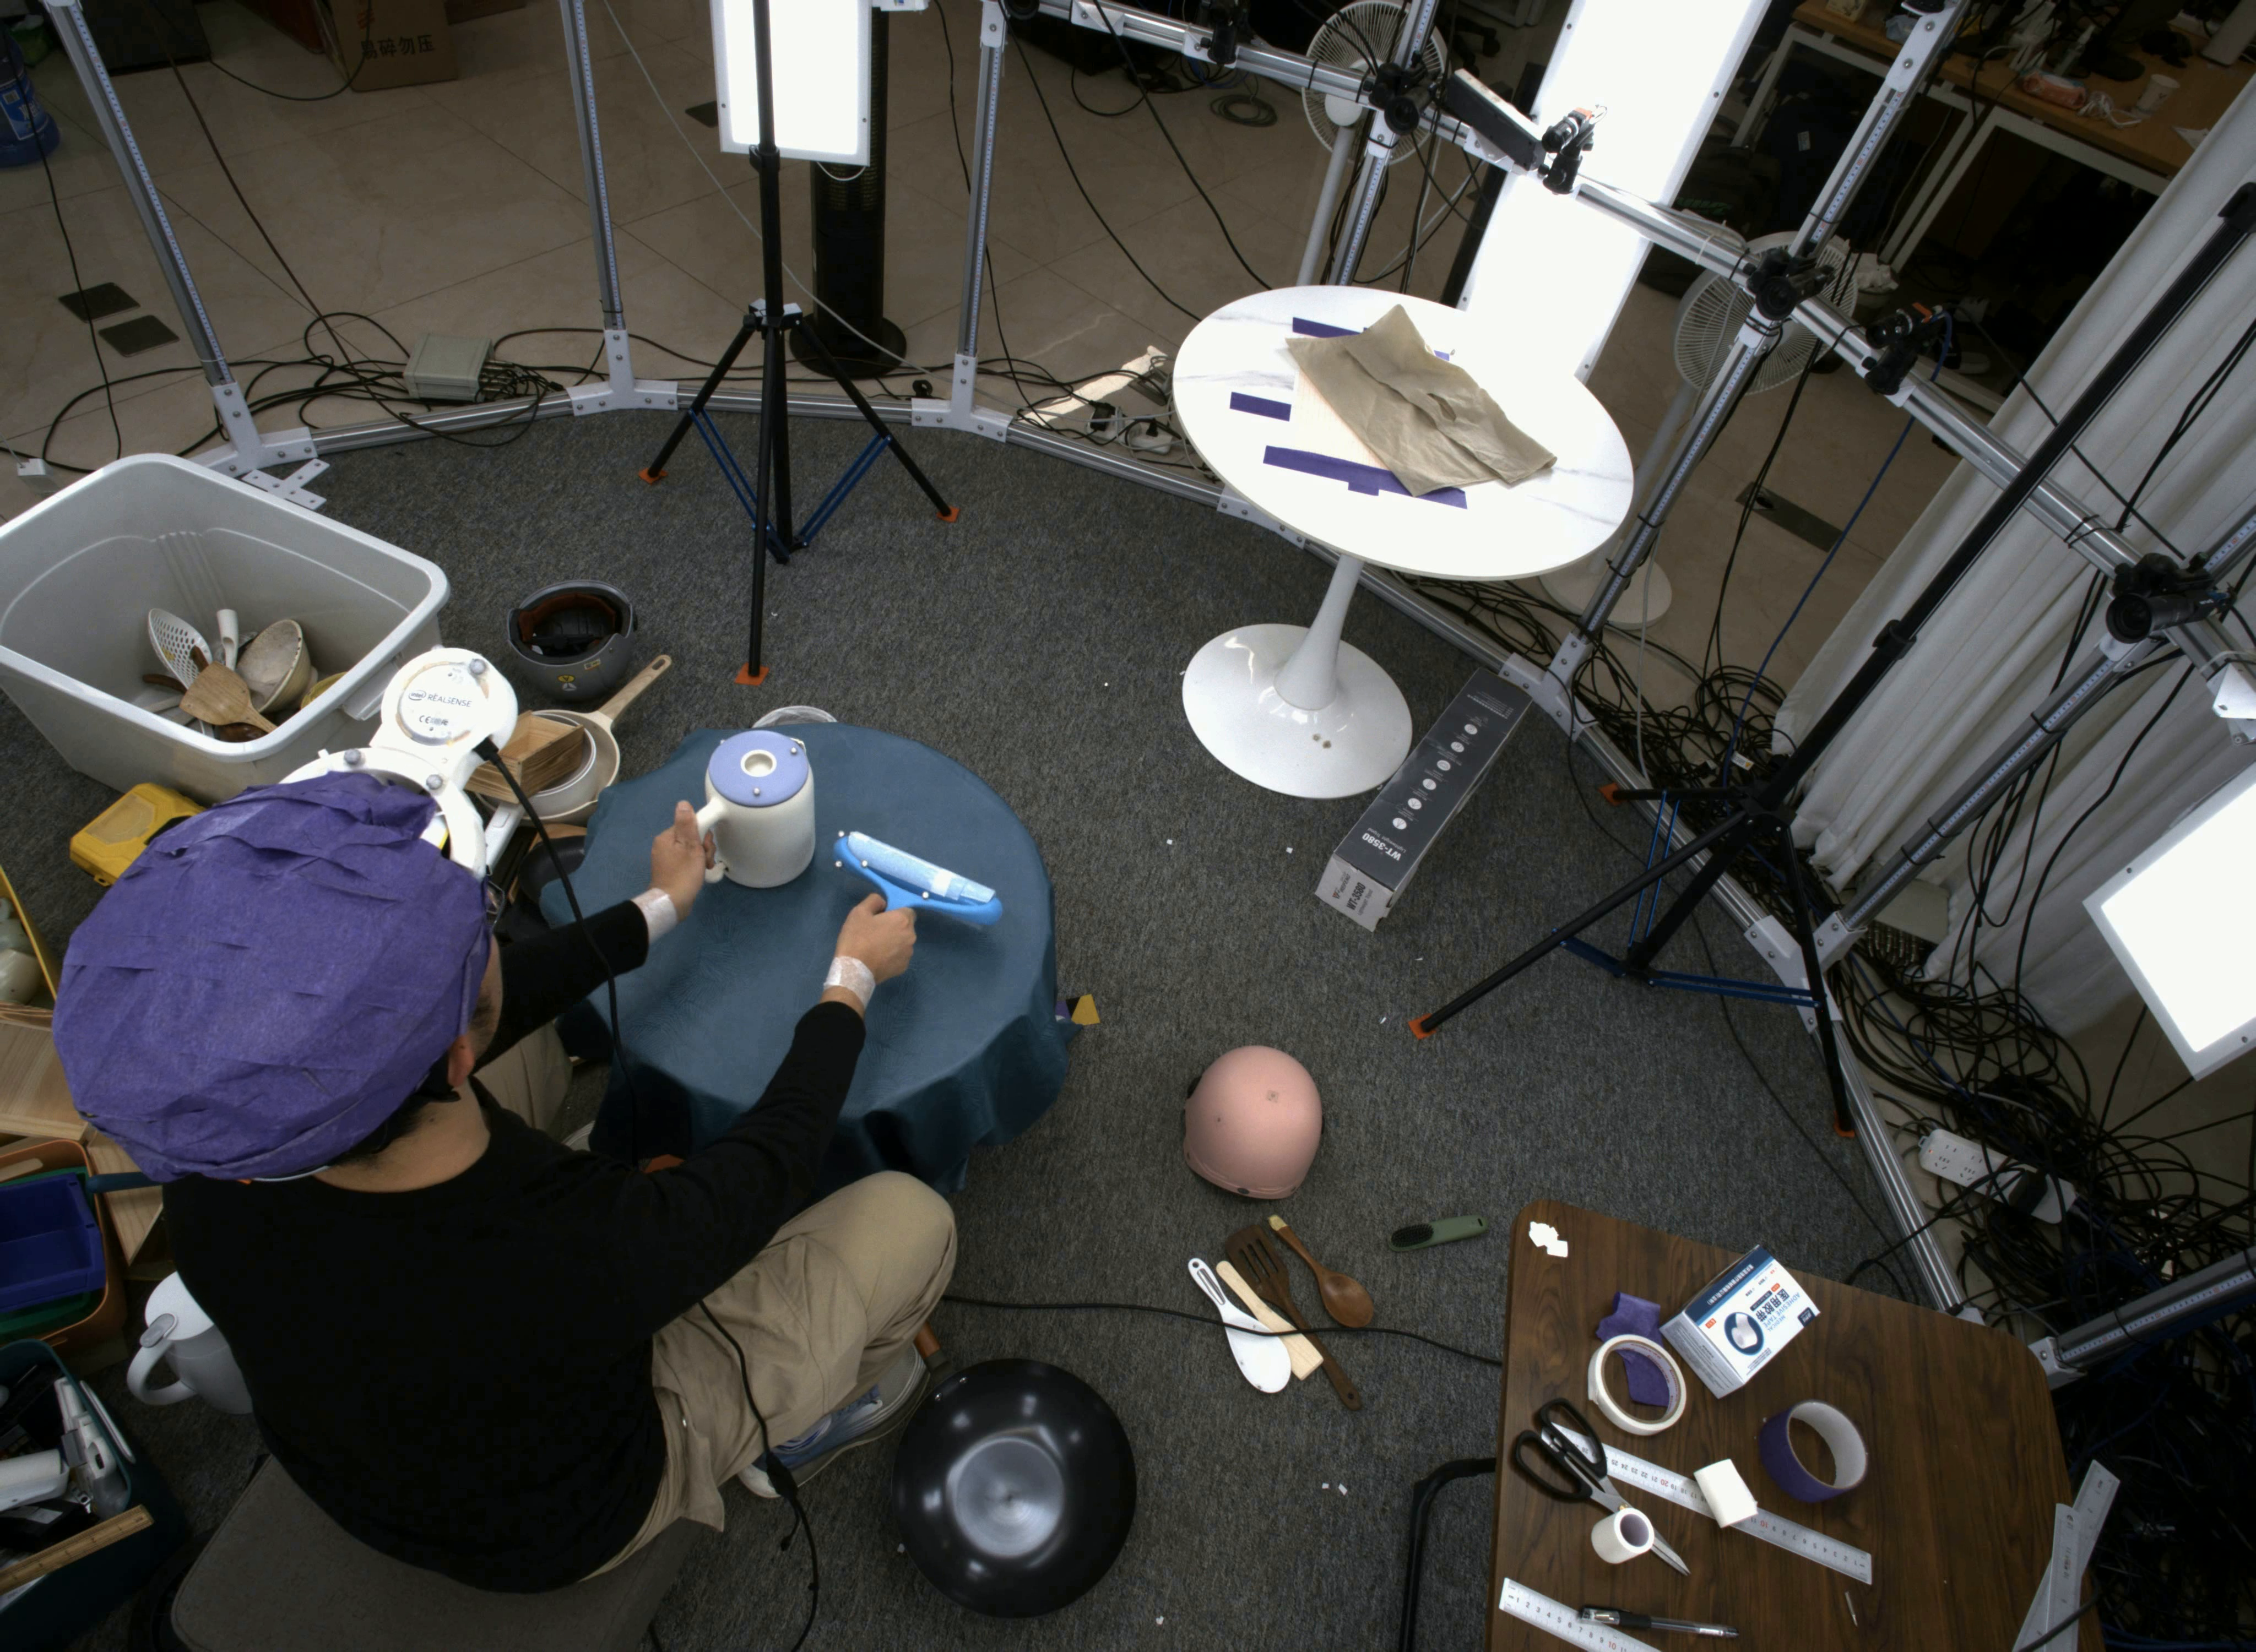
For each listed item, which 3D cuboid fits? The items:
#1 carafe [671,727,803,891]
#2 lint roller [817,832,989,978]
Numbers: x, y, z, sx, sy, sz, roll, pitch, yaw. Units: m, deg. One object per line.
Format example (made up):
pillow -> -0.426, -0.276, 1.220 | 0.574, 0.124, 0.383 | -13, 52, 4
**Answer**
carafe -> -0.490, -0.007, 1.596 | 0.129, 0.186, 0.191 | 35, 55, 16
lint roller -> -0.294, 0.102, 1.582 | 0.228, 0.069, 0.178 | 22, 41, -3
